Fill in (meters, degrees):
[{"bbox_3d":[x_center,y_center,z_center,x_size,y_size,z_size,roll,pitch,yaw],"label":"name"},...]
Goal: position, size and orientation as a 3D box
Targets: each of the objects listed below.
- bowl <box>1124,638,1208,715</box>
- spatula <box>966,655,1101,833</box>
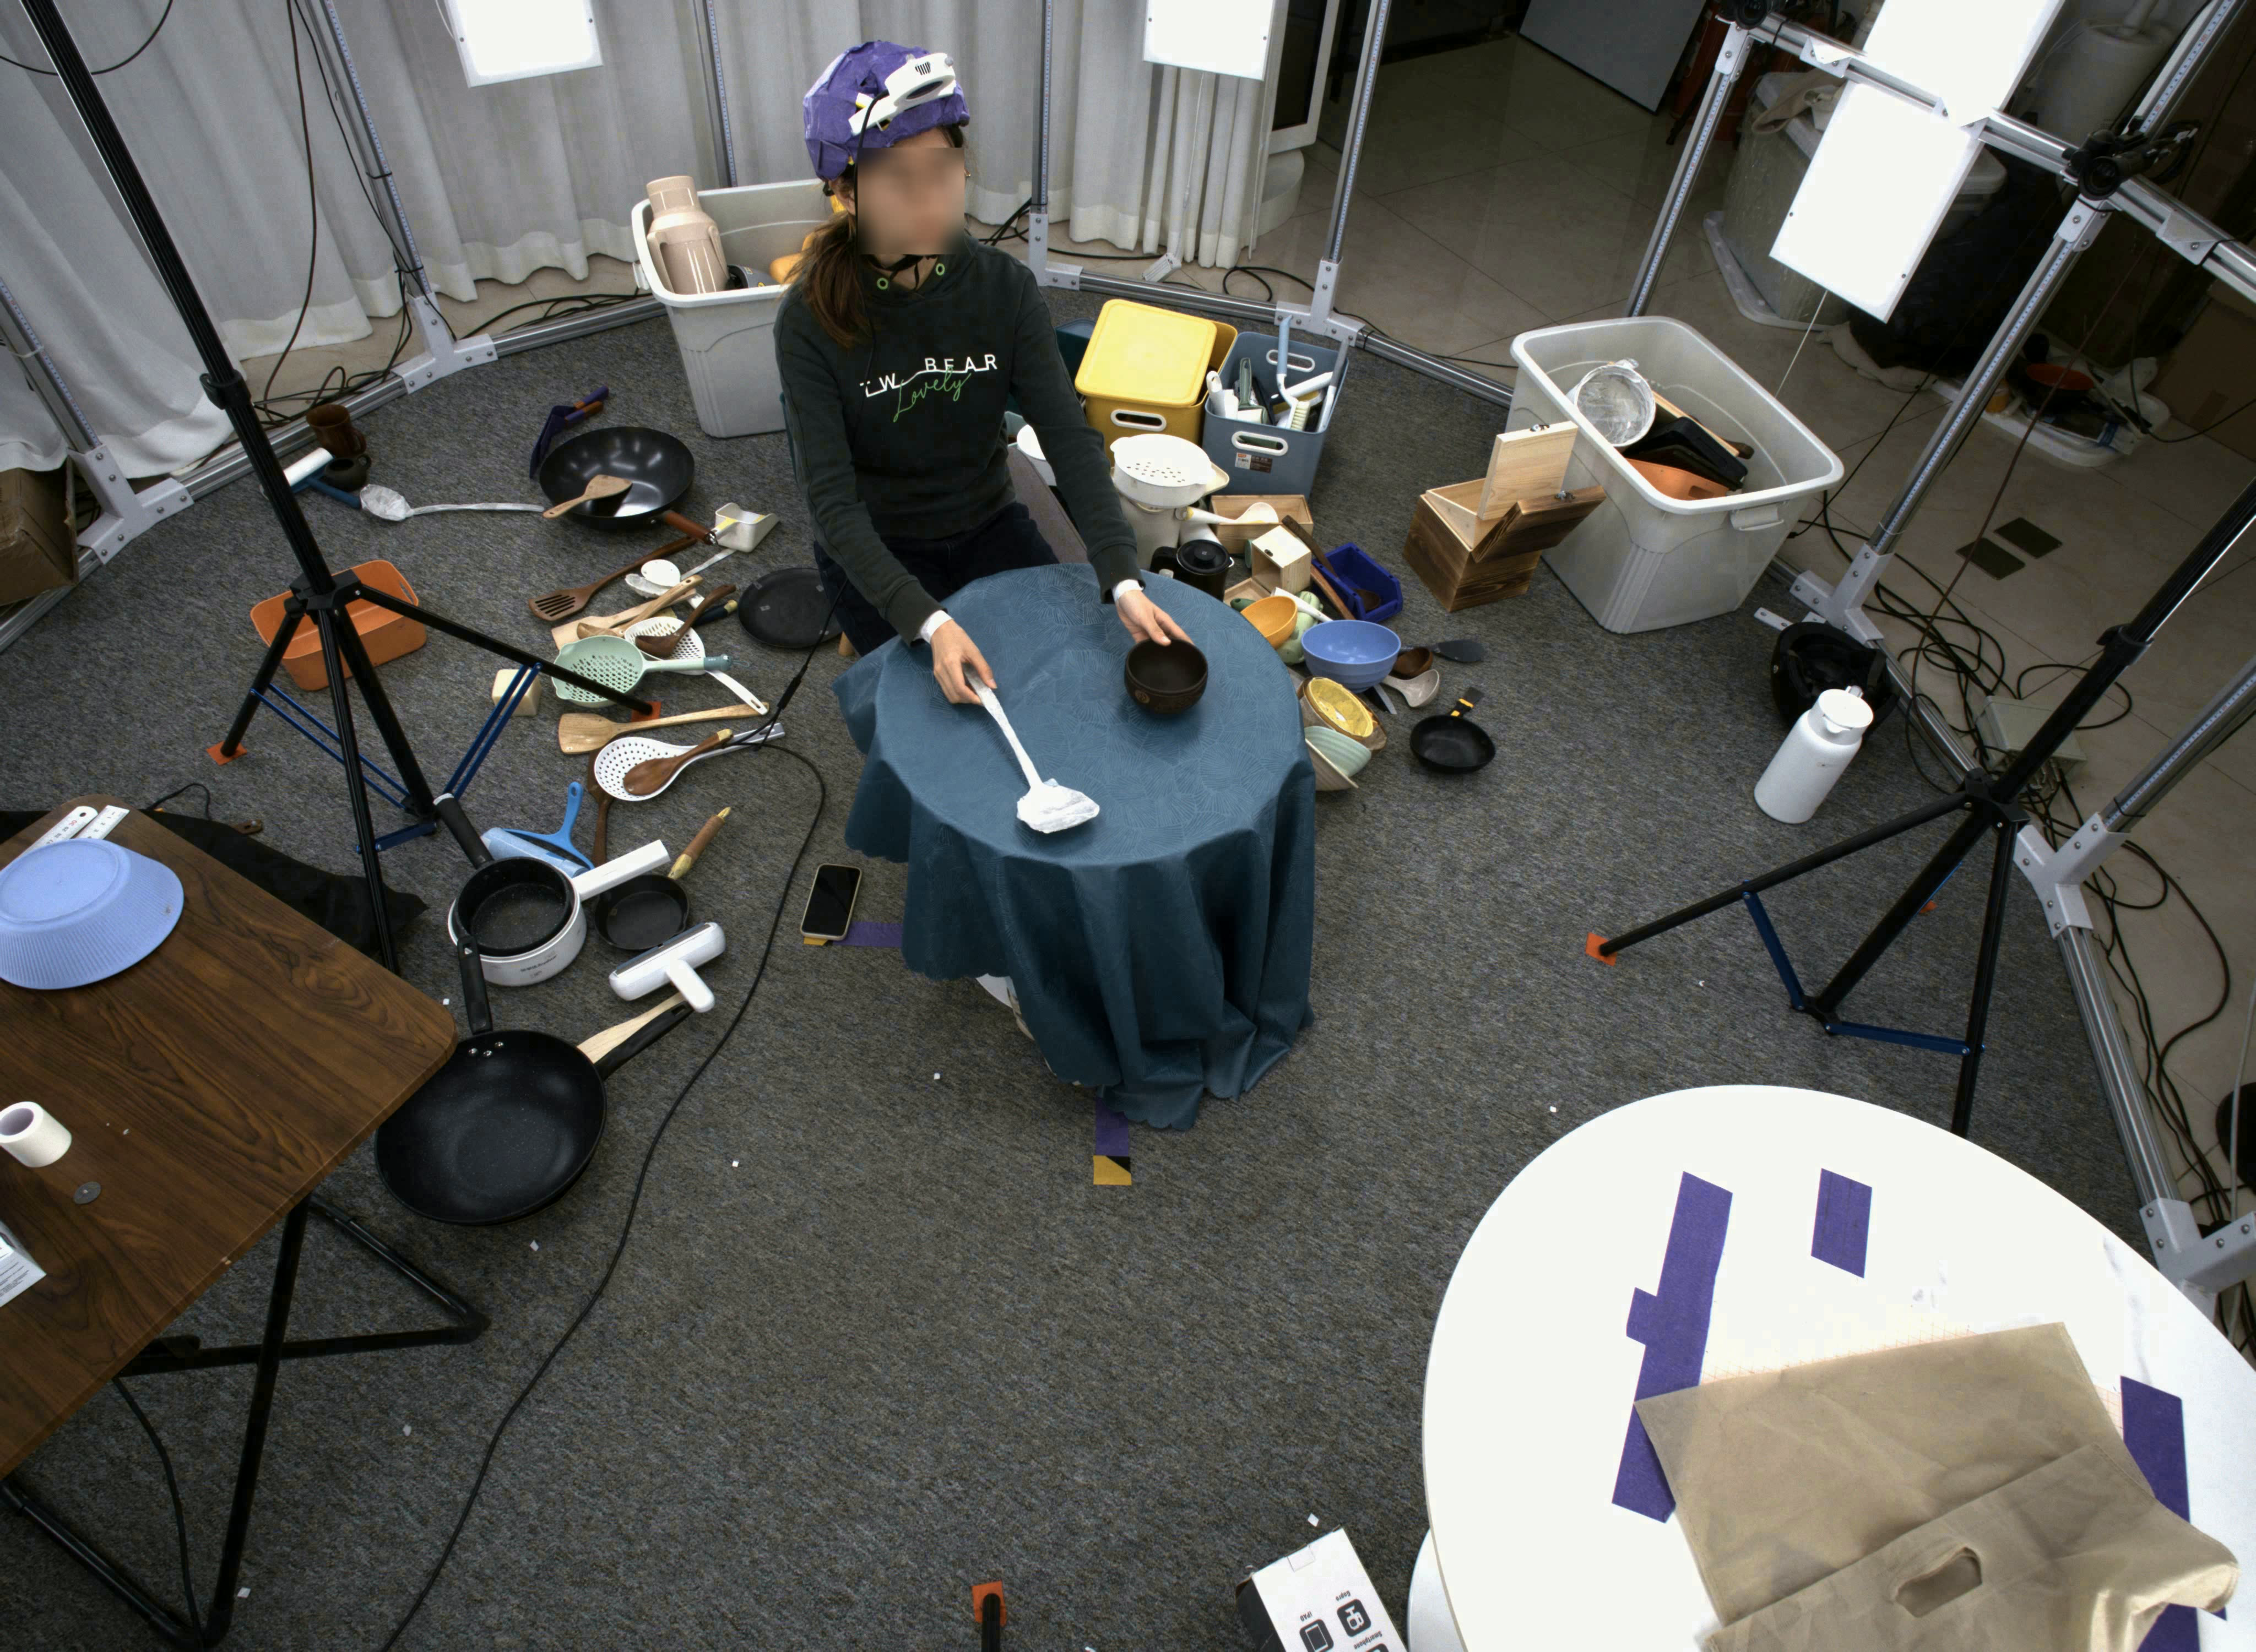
[{"bbox_3d":[0.053,-0.204,1.819,0.118,0.068,0.121,3,47,-3],"label":"bowl"},{"bbox_3d":[-0.151,-0.122,1.747,0.099,0.044,0.373,-18,56,-20],"label":"spatula"}]
